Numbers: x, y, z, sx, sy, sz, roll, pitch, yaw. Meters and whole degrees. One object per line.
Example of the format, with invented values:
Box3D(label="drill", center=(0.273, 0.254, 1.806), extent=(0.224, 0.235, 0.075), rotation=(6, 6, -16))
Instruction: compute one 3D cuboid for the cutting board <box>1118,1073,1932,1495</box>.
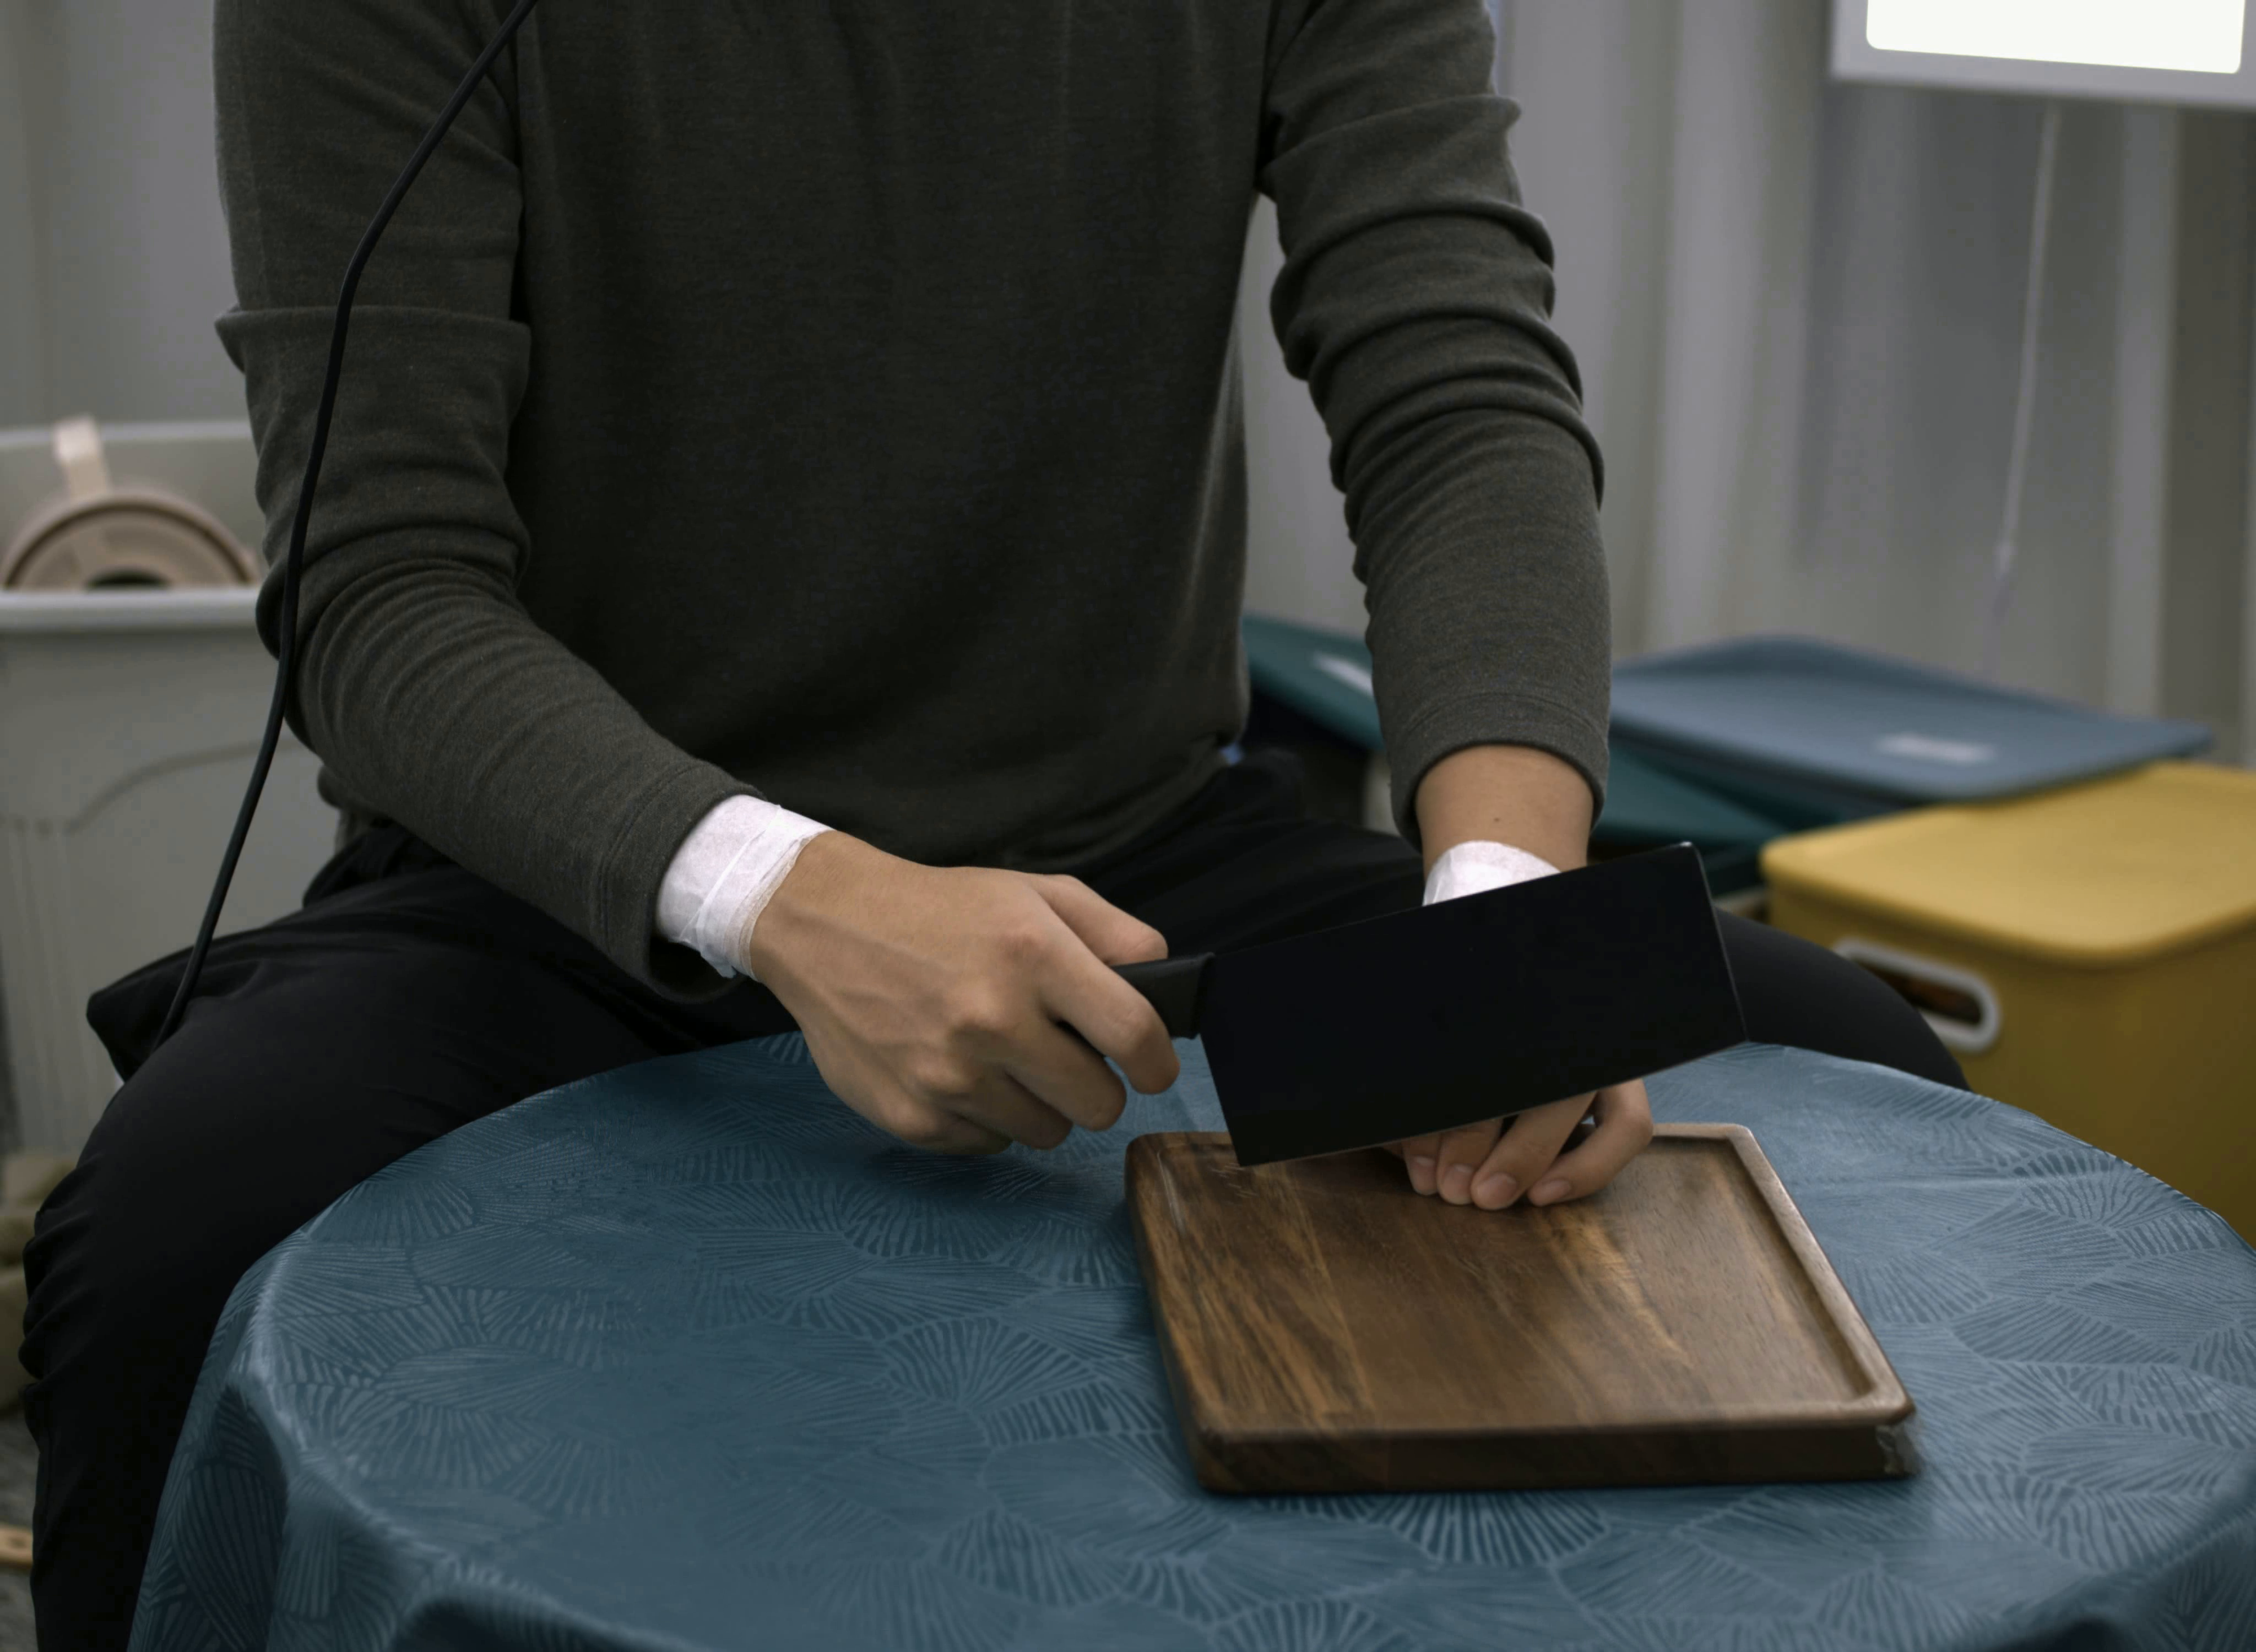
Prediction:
Box3D(label="cutting board", center=(0.102, 0.120, 1.559), extent=(0.201, 0.023, 0.349), rotation=(0, 15, -5))

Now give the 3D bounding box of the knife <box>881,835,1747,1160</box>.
Box3D(label="knife", center=(0.049, 0.061, 1.579), extent=(0.299, 0.081, 0.021), rotation=(-10, 4, 32))
